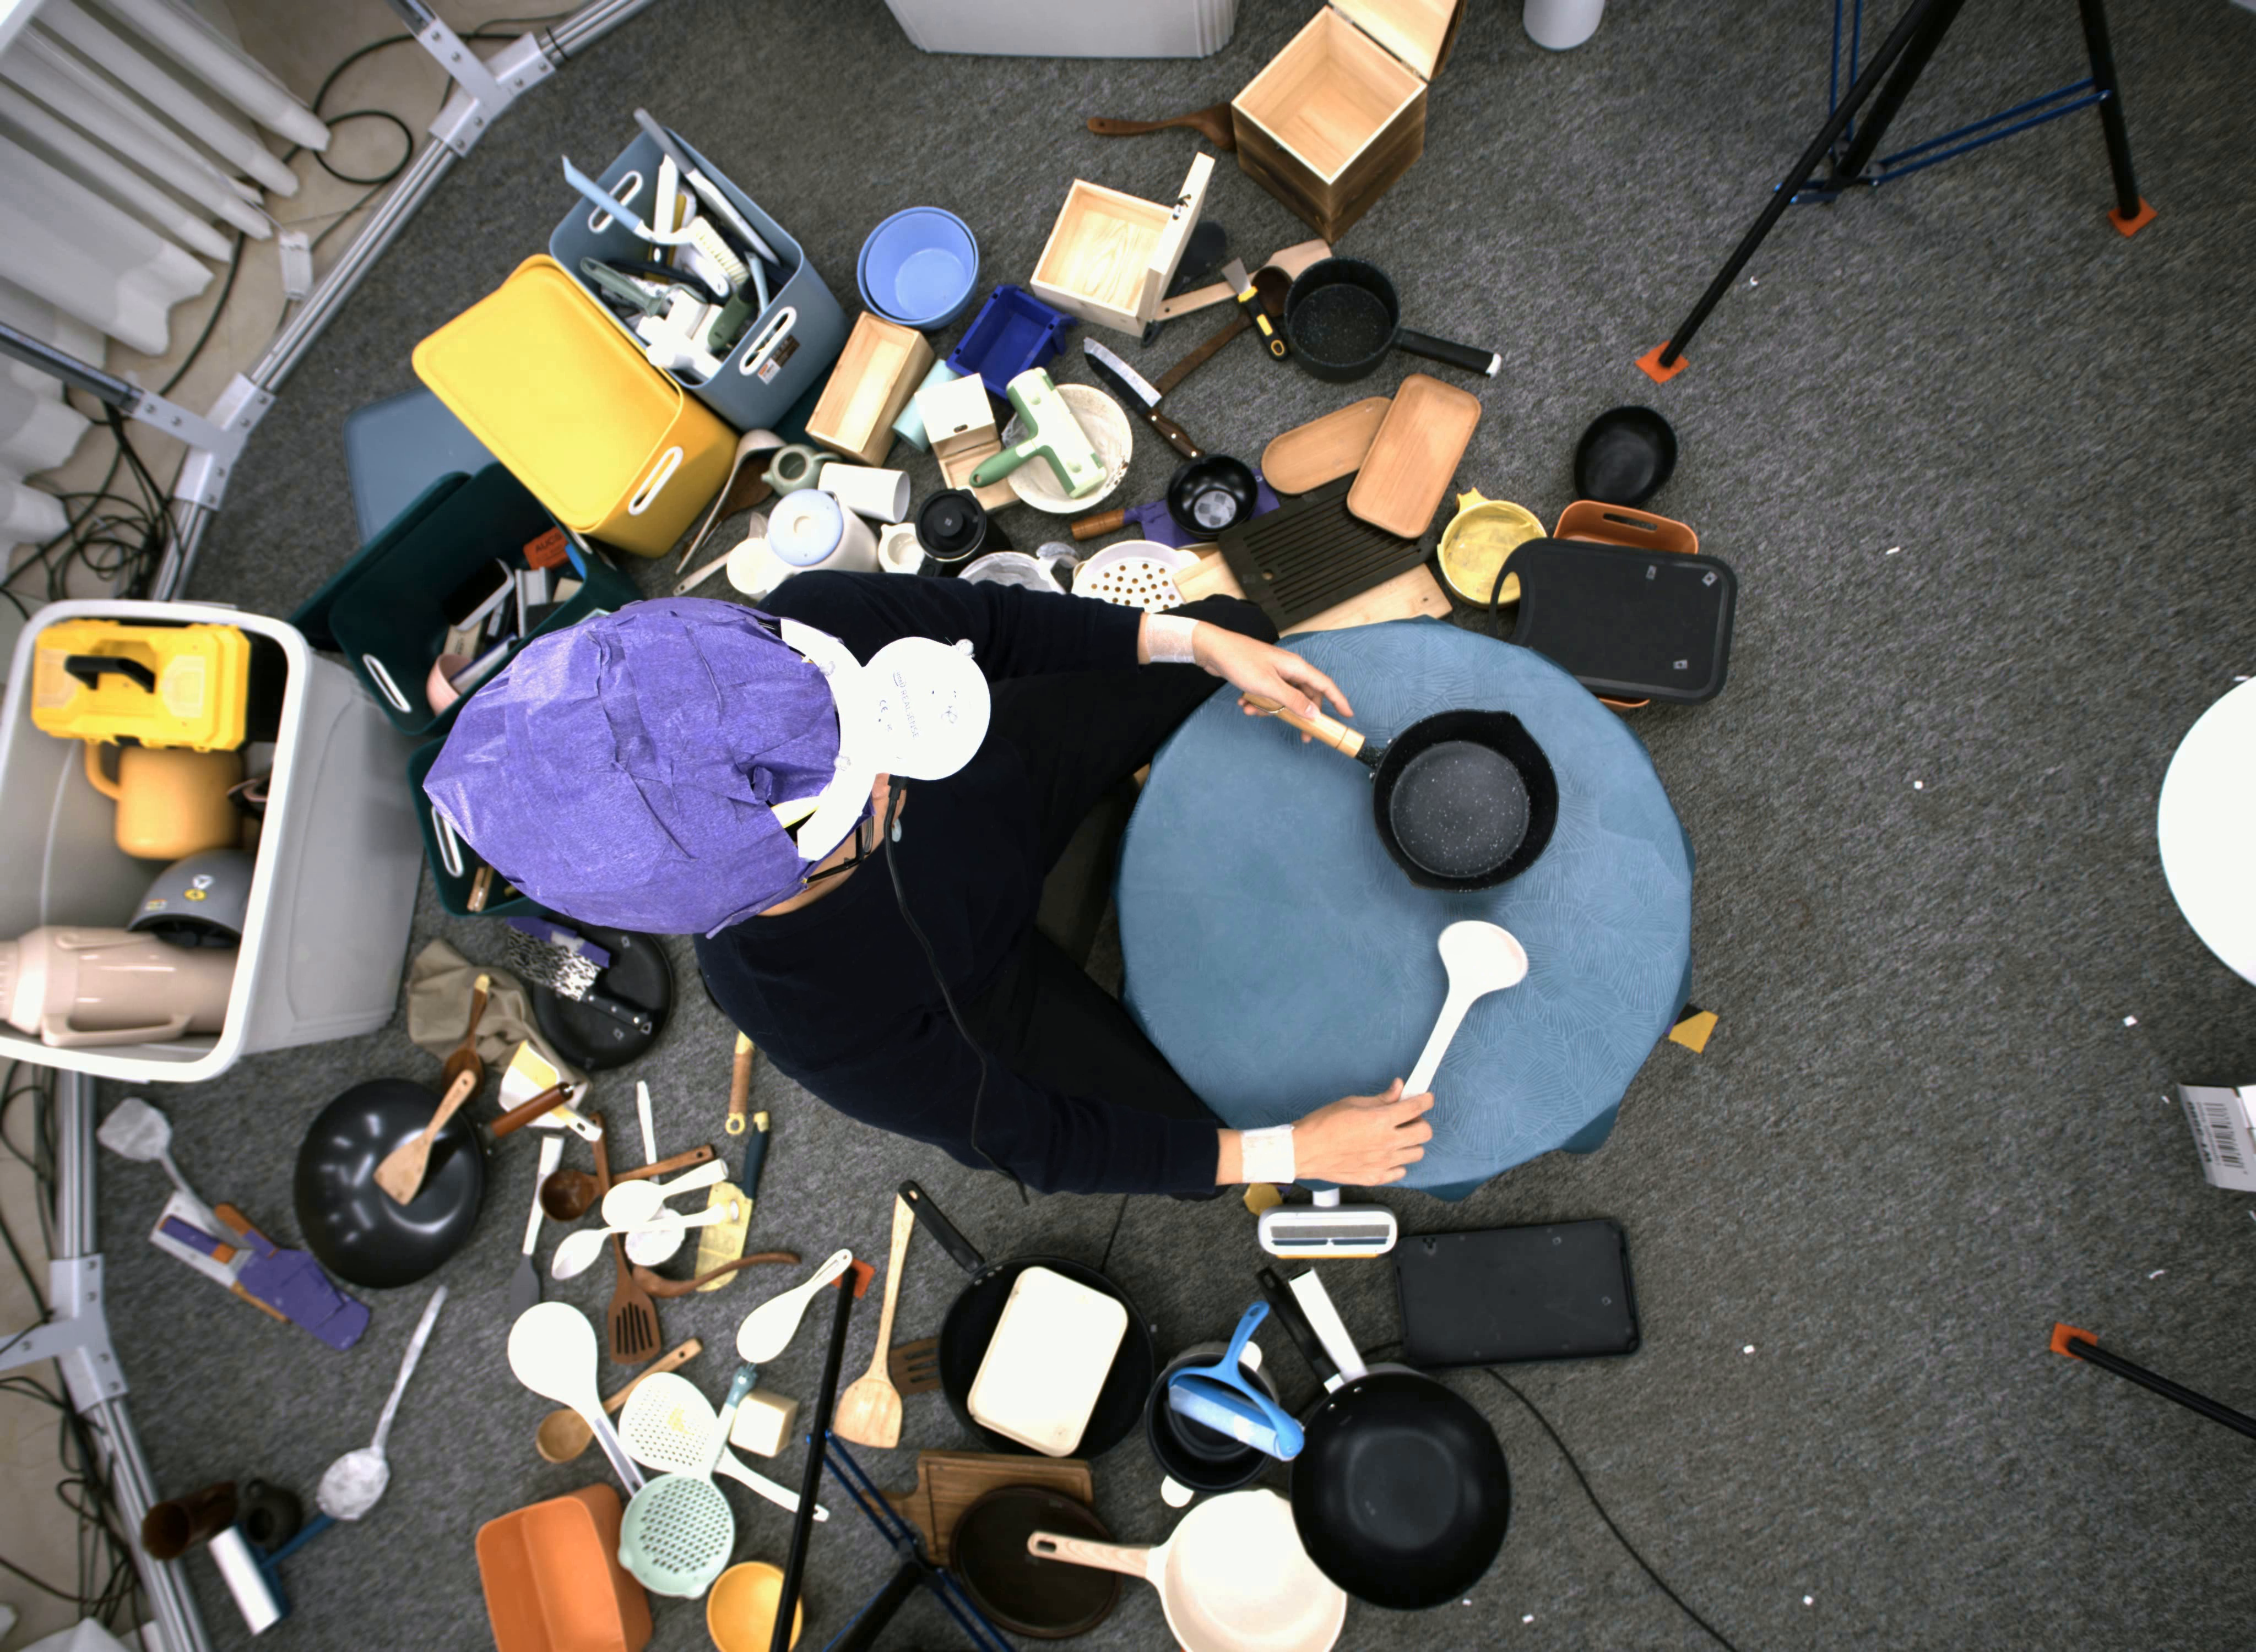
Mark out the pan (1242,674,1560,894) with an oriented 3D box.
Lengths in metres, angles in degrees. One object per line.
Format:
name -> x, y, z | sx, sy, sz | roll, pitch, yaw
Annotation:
pan -> 0.271, -0.060, 1.412 | 0.342, 0.108, 0.208 | 27, 92, 9

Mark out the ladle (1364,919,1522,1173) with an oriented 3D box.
ladle -> 0.304, 0.221, 1.380 | 0.089, 0.070, 0.273 | 27, 85, 10
